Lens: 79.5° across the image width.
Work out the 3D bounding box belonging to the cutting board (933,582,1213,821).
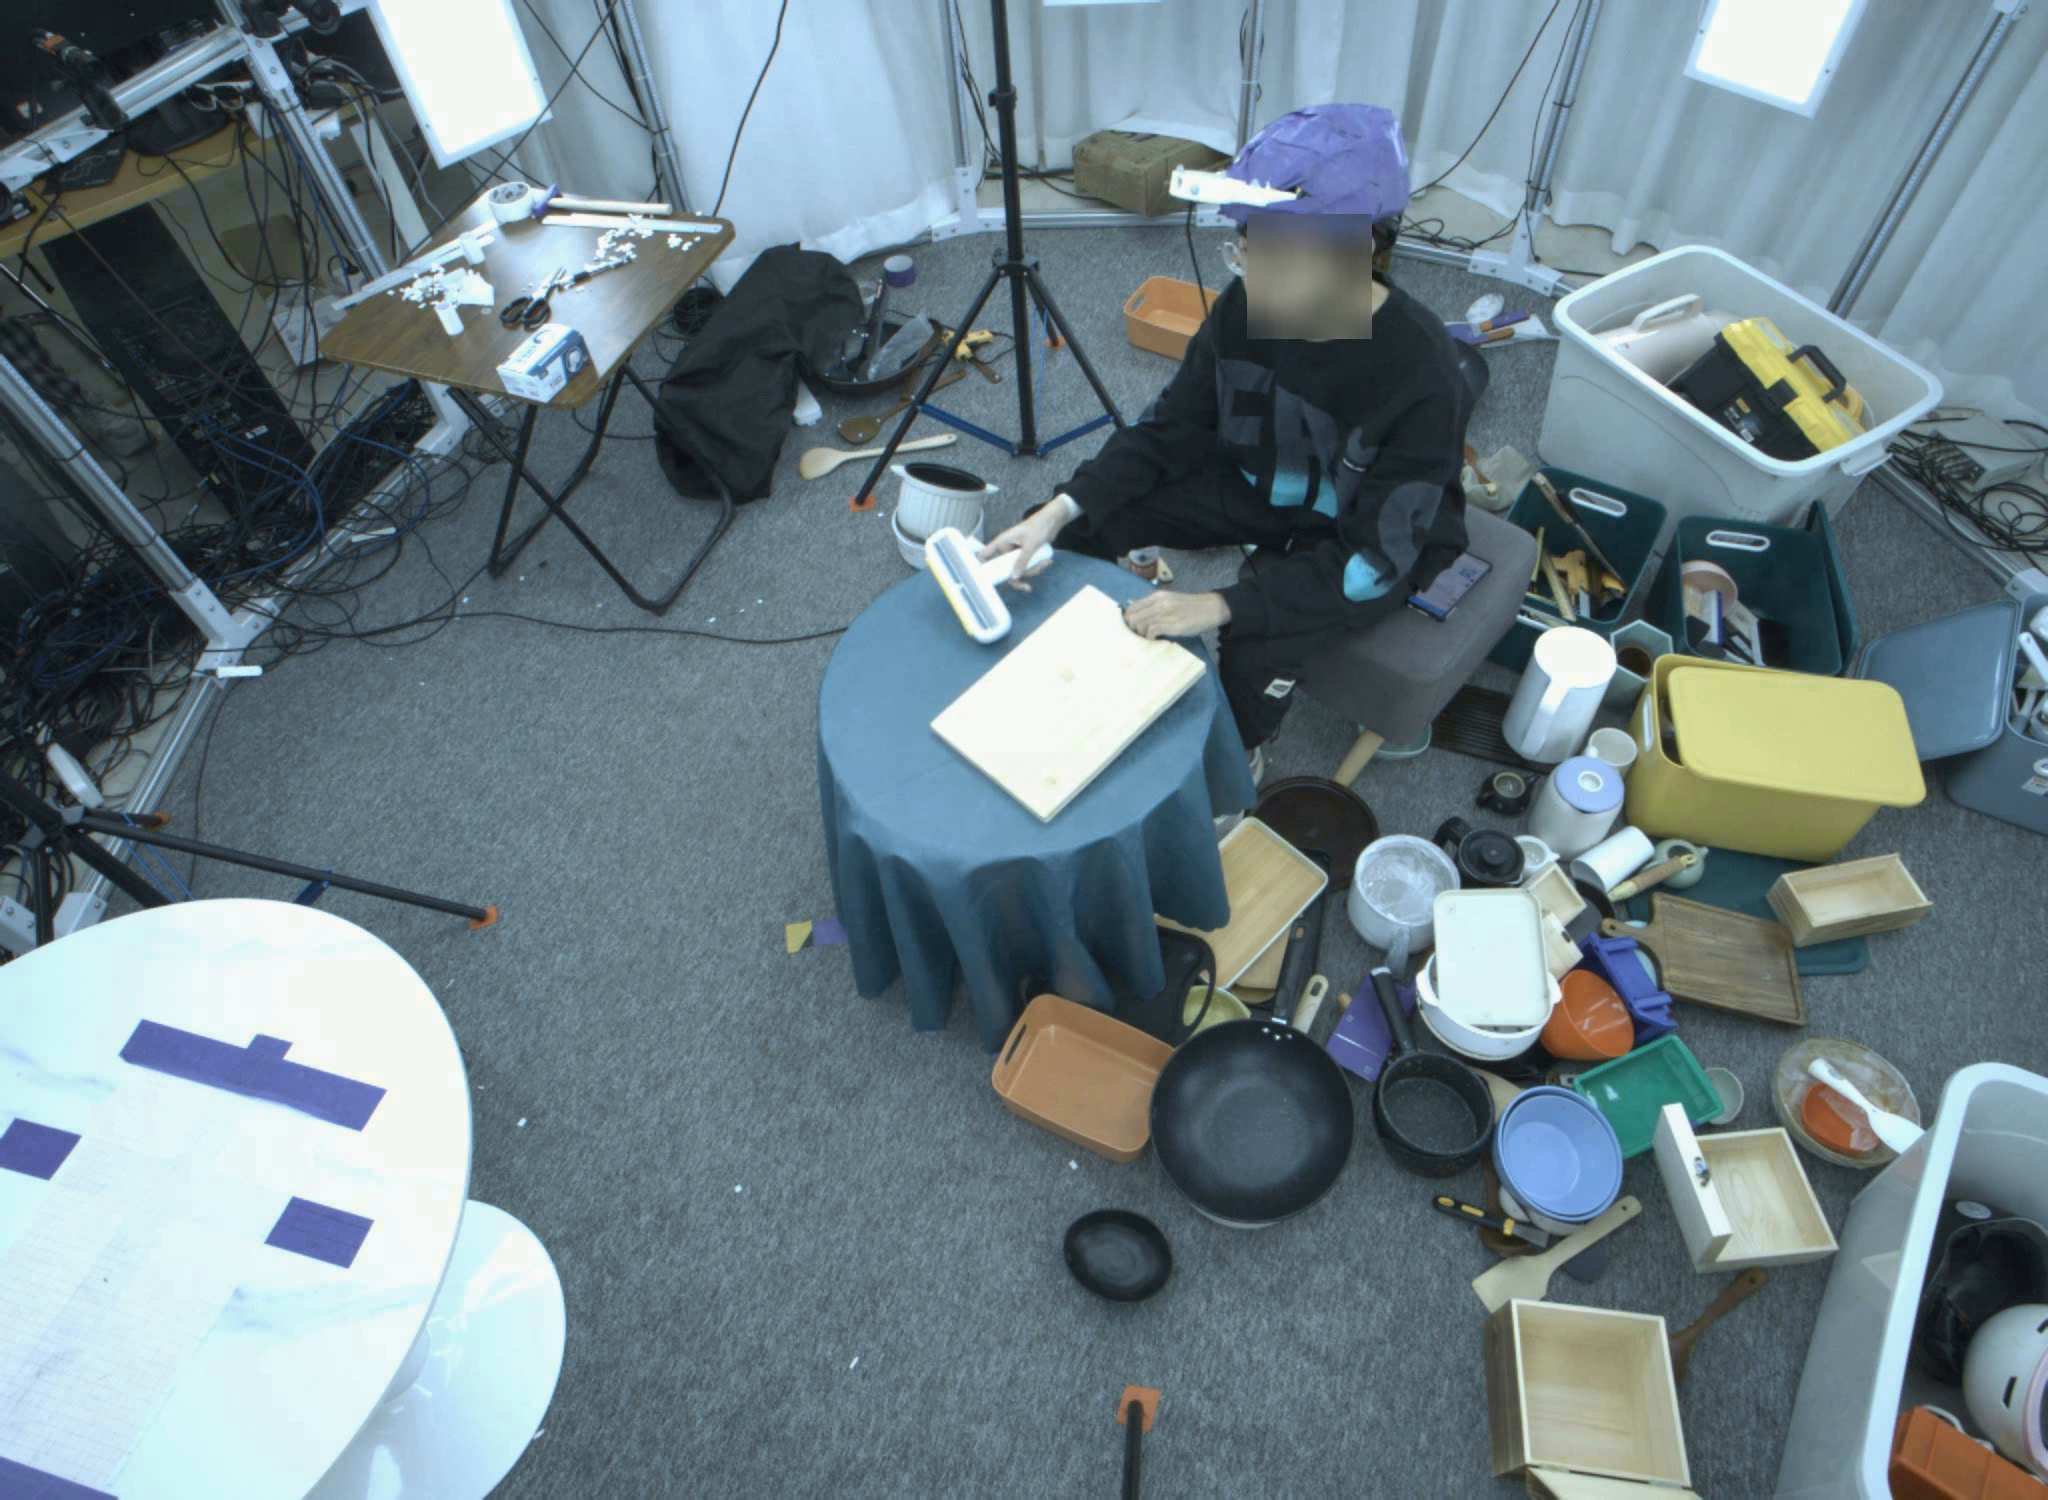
[{"bbox_3d":[0.070,-0.080,1.805,0.246,0.024,0.350,38,70,25],"label":"cutting board"}]

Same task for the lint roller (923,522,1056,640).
[{"bbox_3d":[-0.039,-0.283,1.908,0.193,0.074,0.191,-26,80,-9],"label":"lint roller"}]
